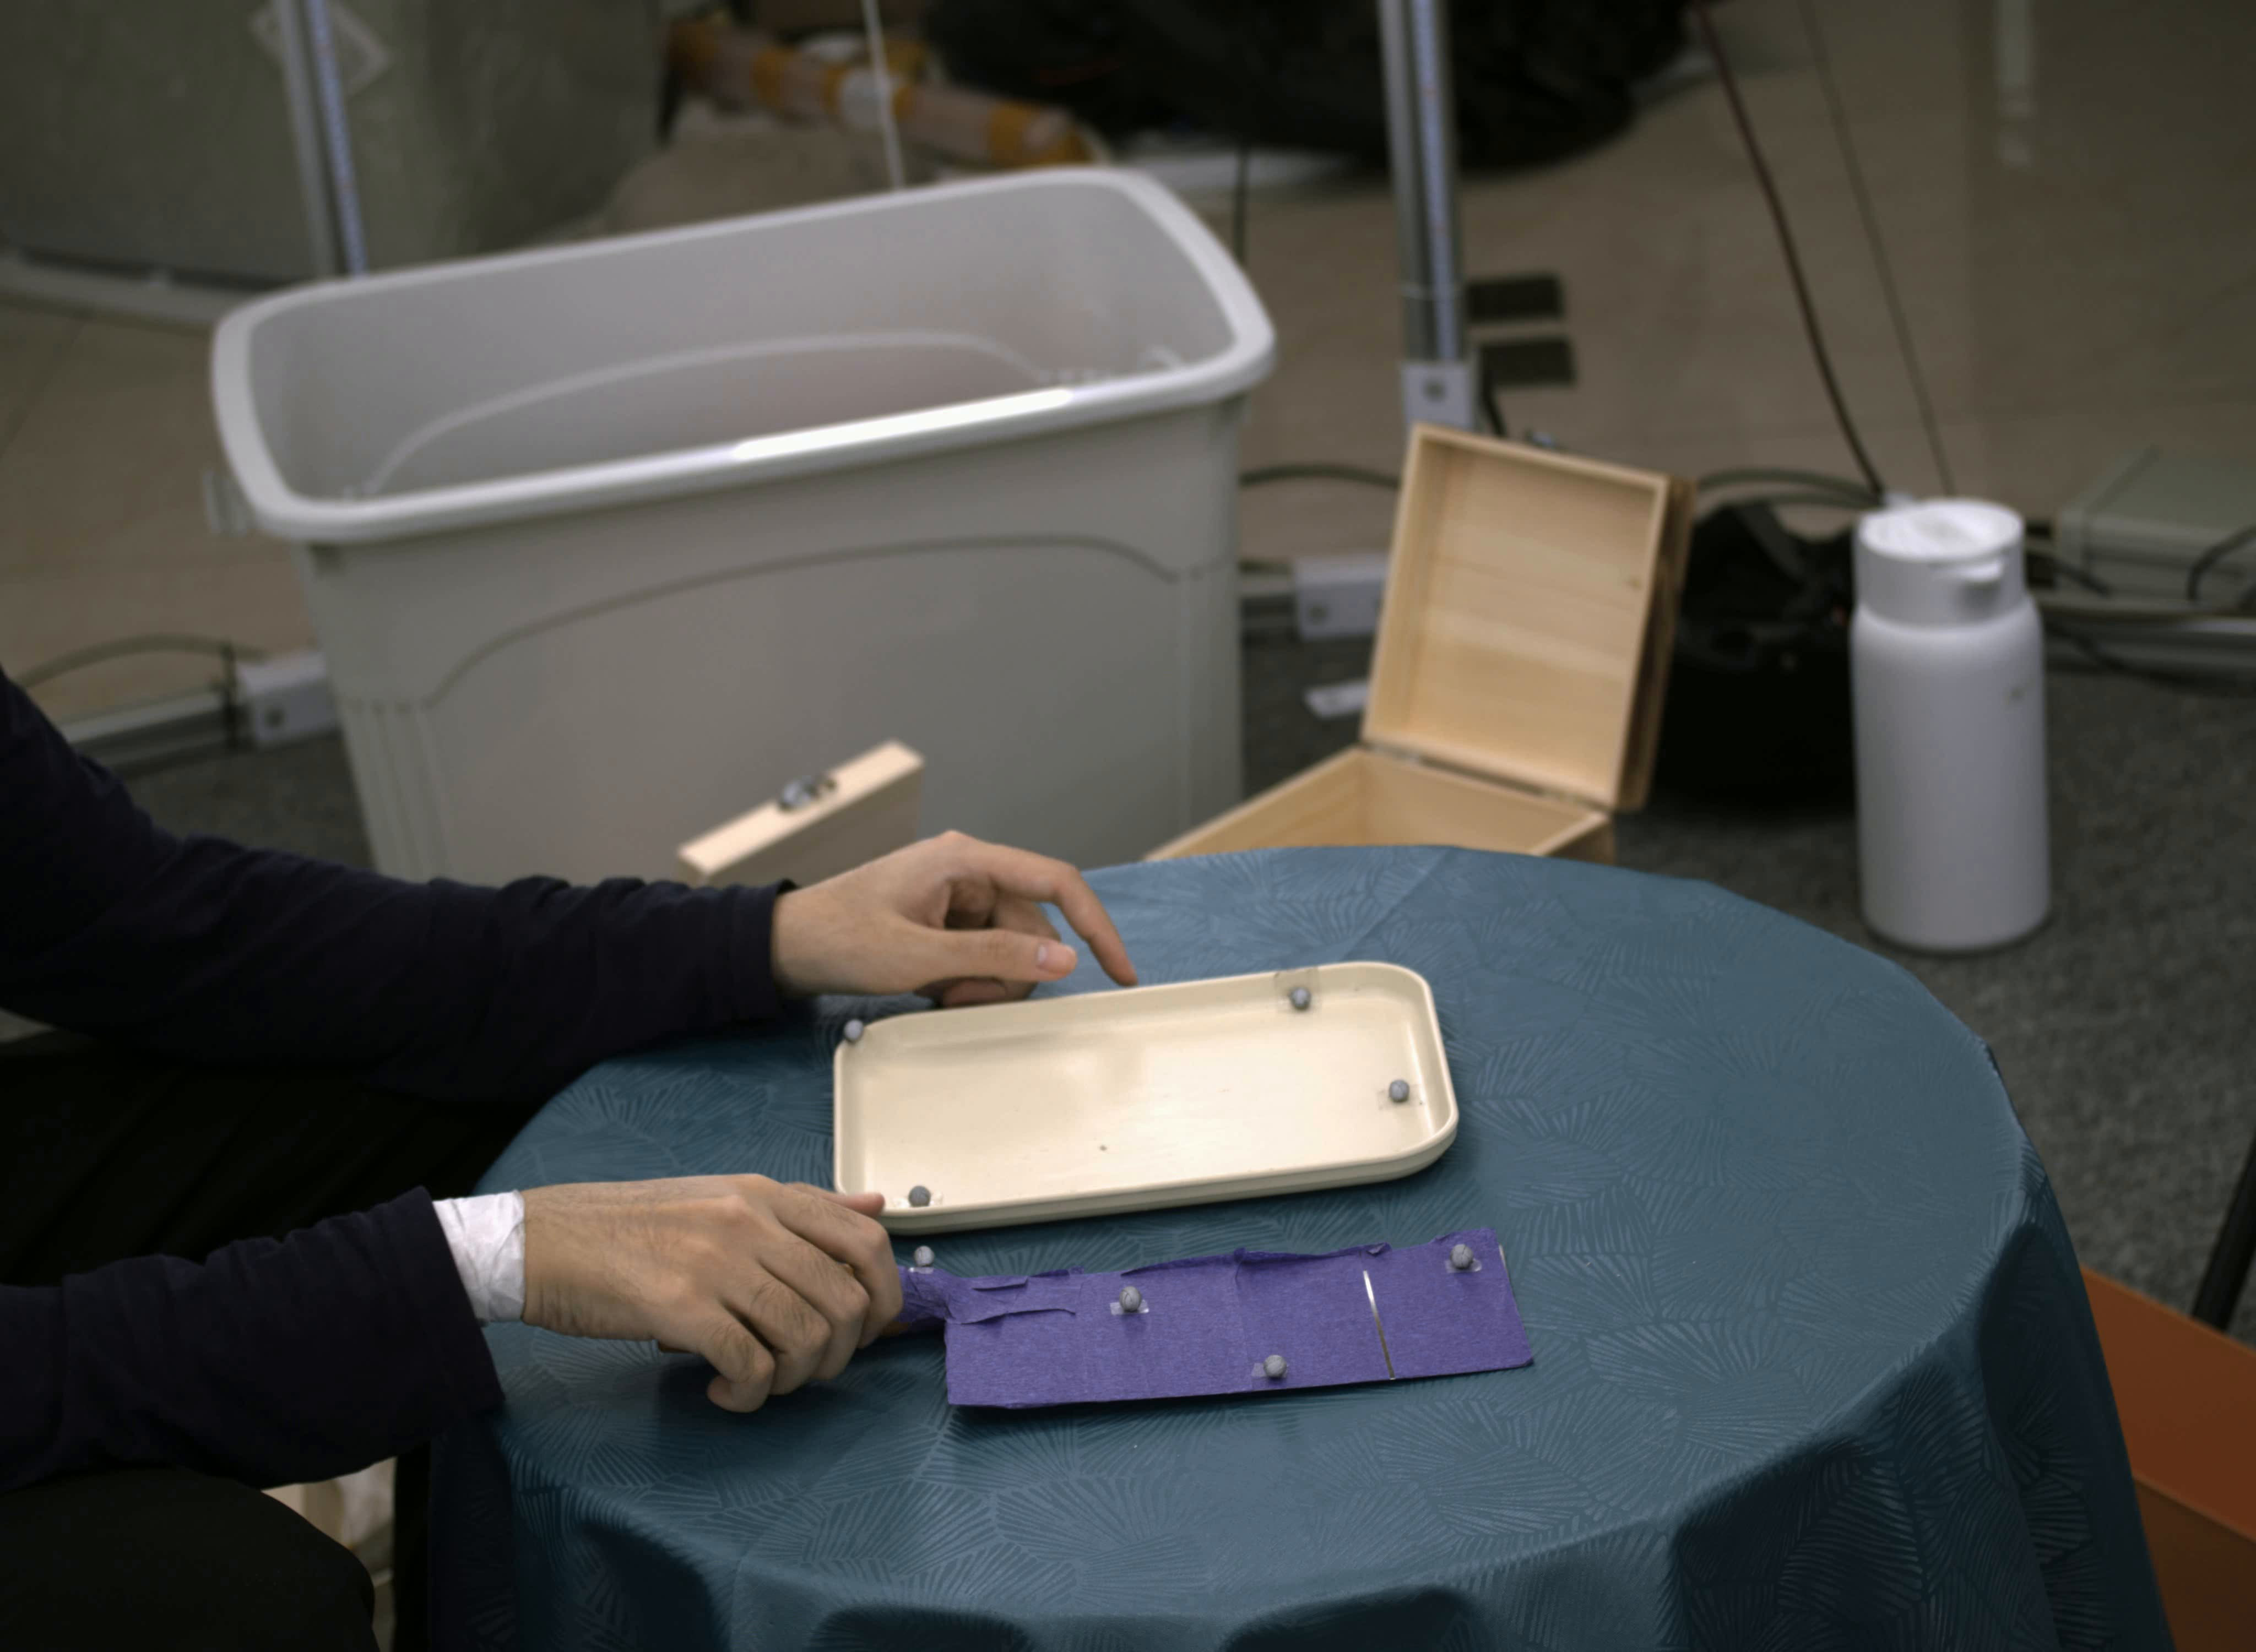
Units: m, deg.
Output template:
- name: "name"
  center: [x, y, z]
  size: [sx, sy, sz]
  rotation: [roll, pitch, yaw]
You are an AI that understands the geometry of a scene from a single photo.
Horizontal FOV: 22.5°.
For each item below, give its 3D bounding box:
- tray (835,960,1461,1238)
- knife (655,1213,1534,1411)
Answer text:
- name: "tray"
  center: [0.006, 0.107, 2.199]
  size: [0.239, 0.018, 0.169]
  rotation: [-7, 25, 0]
- name: "knife"
  center: [-0.014, 0.178, 2.039]
  size: [0.315, 0.033, 0.102]
  rotation: [-6, 25, -1]
